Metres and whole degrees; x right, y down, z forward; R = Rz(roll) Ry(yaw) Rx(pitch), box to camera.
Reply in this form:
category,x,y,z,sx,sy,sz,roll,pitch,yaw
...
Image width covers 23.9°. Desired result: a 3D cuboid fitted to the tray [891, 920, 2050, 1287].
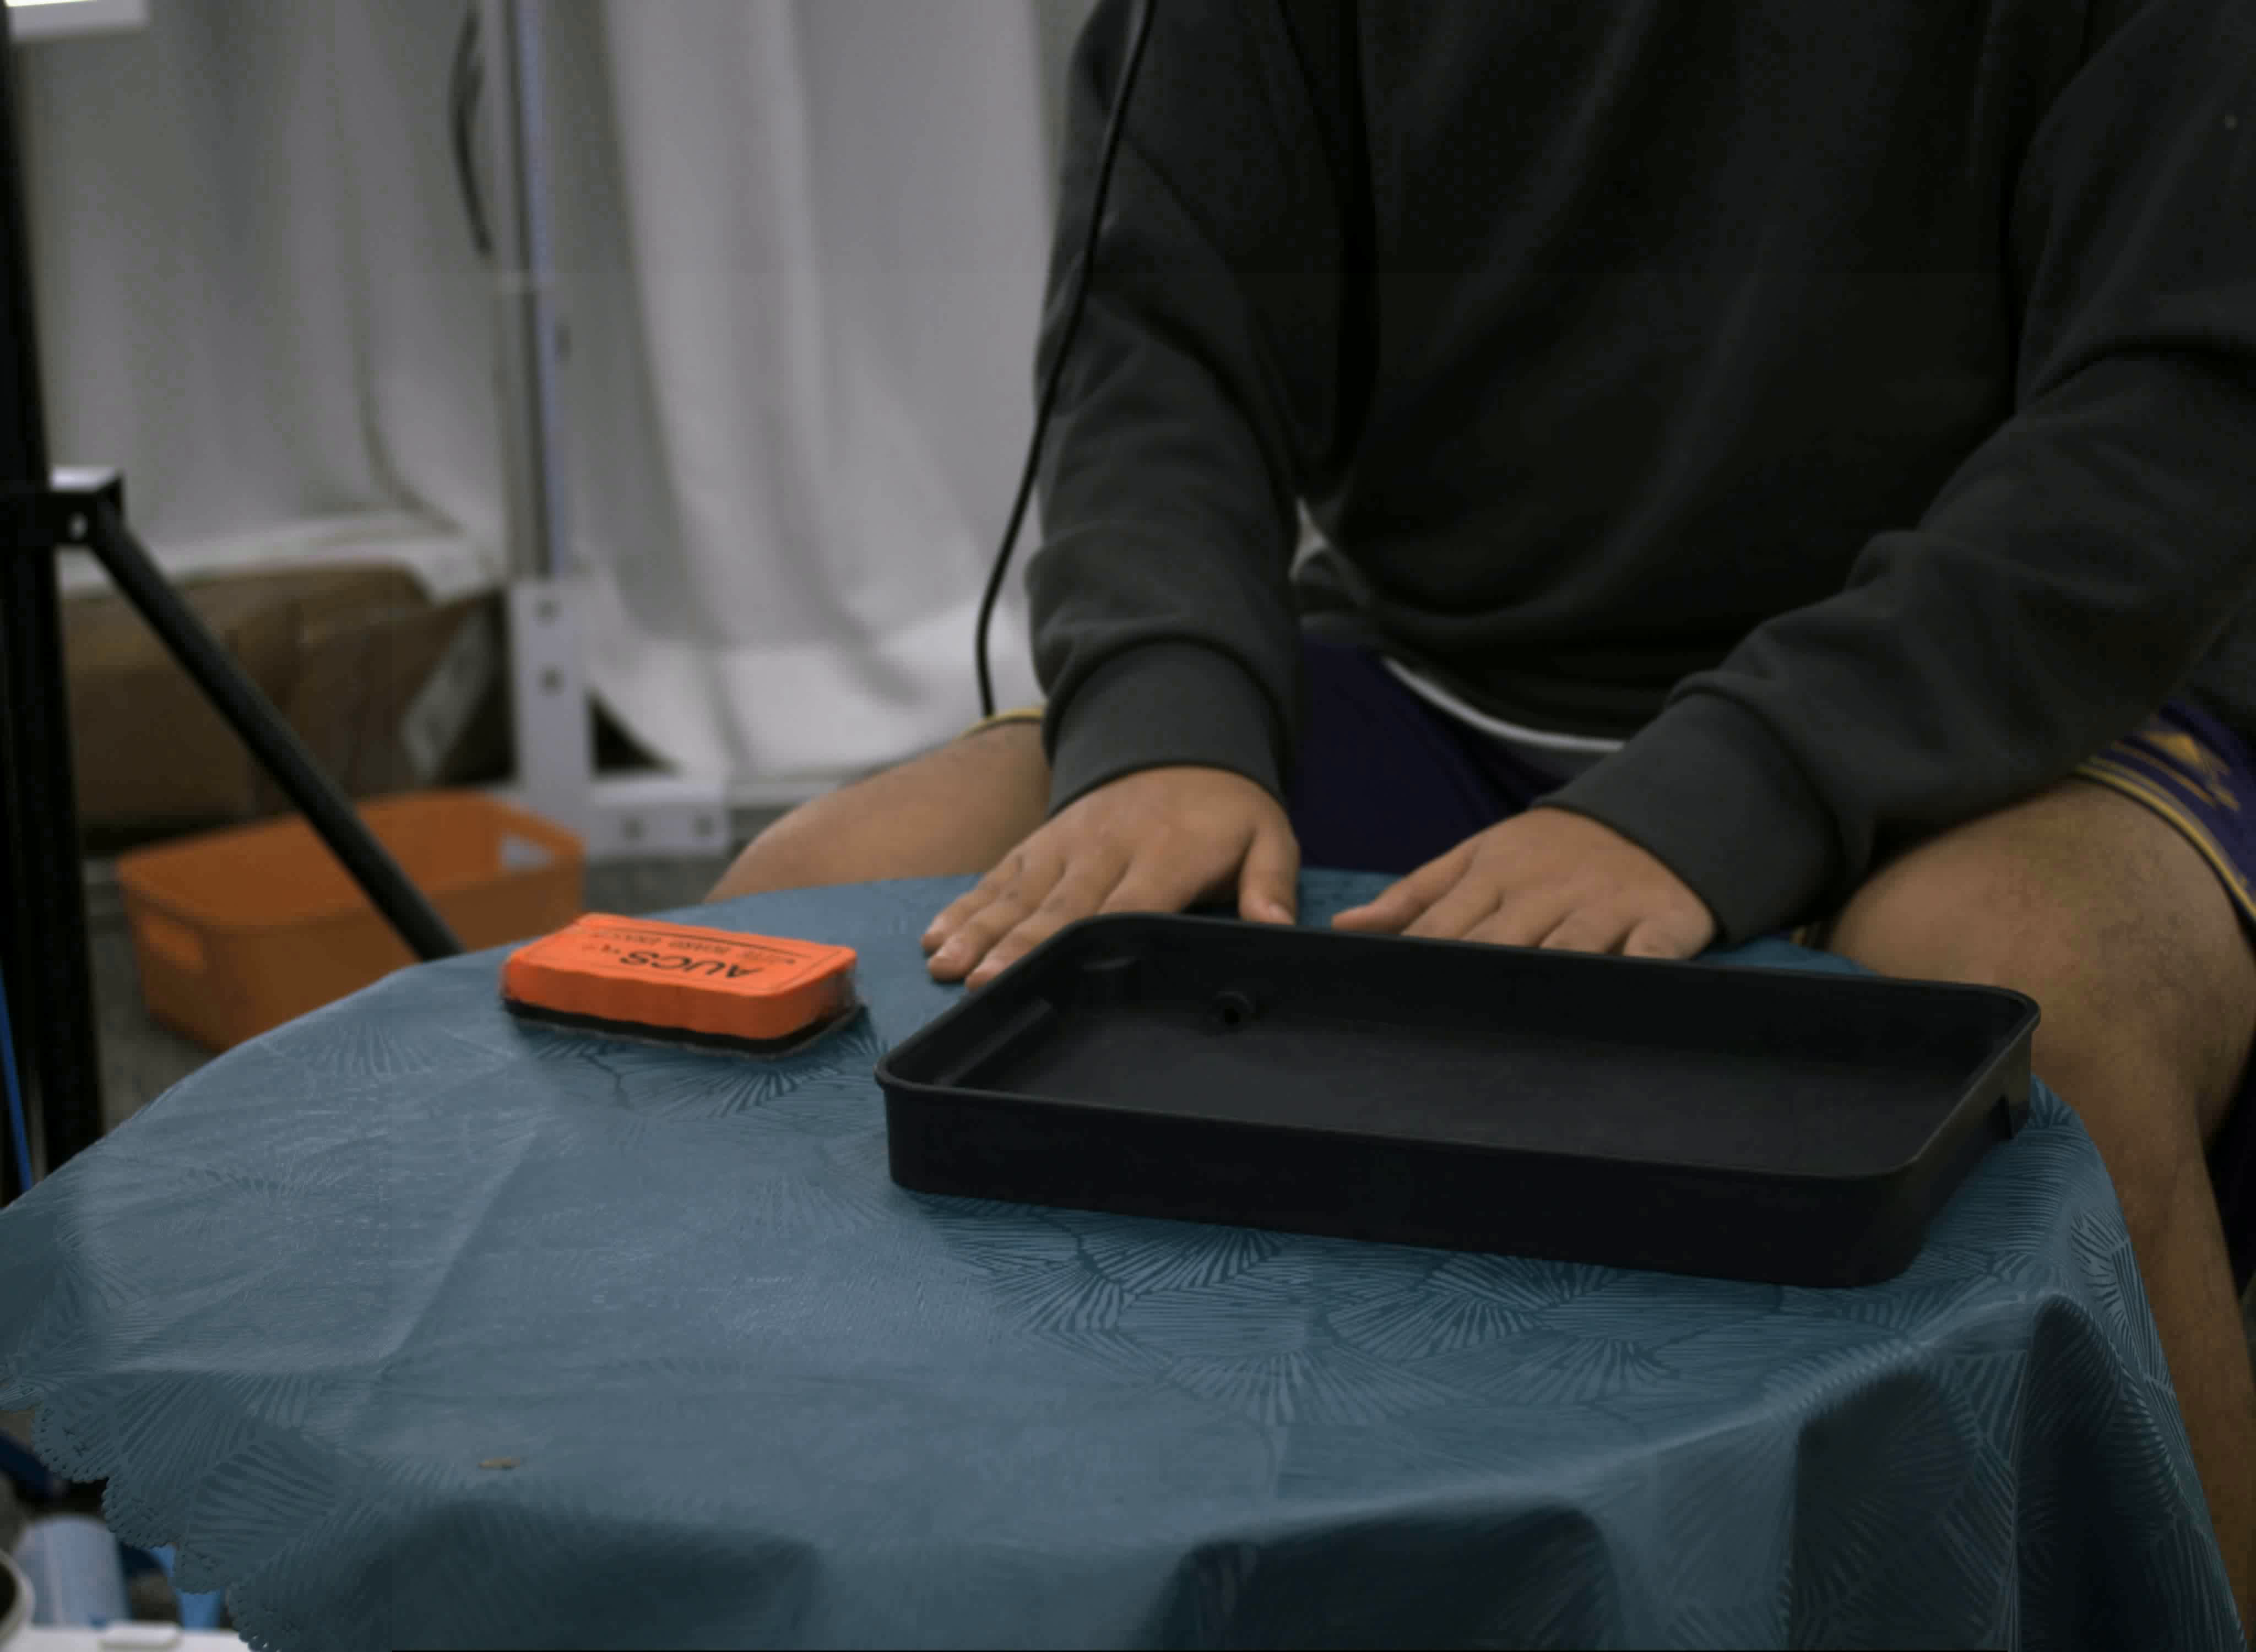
category,x,y,z,sx,sy,sz,roll,pitch,yaw
tray,0.104,0.080,1.581,0.322,0.037,0.182,4,16,23

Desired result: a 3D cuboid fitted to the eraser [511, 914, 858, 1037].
category,x,y,z,sx,sy,sz,roll,pitch,yaw
eraser,-0.145,0.048,1.738,0.110,0.023,0.058,5,11,31
